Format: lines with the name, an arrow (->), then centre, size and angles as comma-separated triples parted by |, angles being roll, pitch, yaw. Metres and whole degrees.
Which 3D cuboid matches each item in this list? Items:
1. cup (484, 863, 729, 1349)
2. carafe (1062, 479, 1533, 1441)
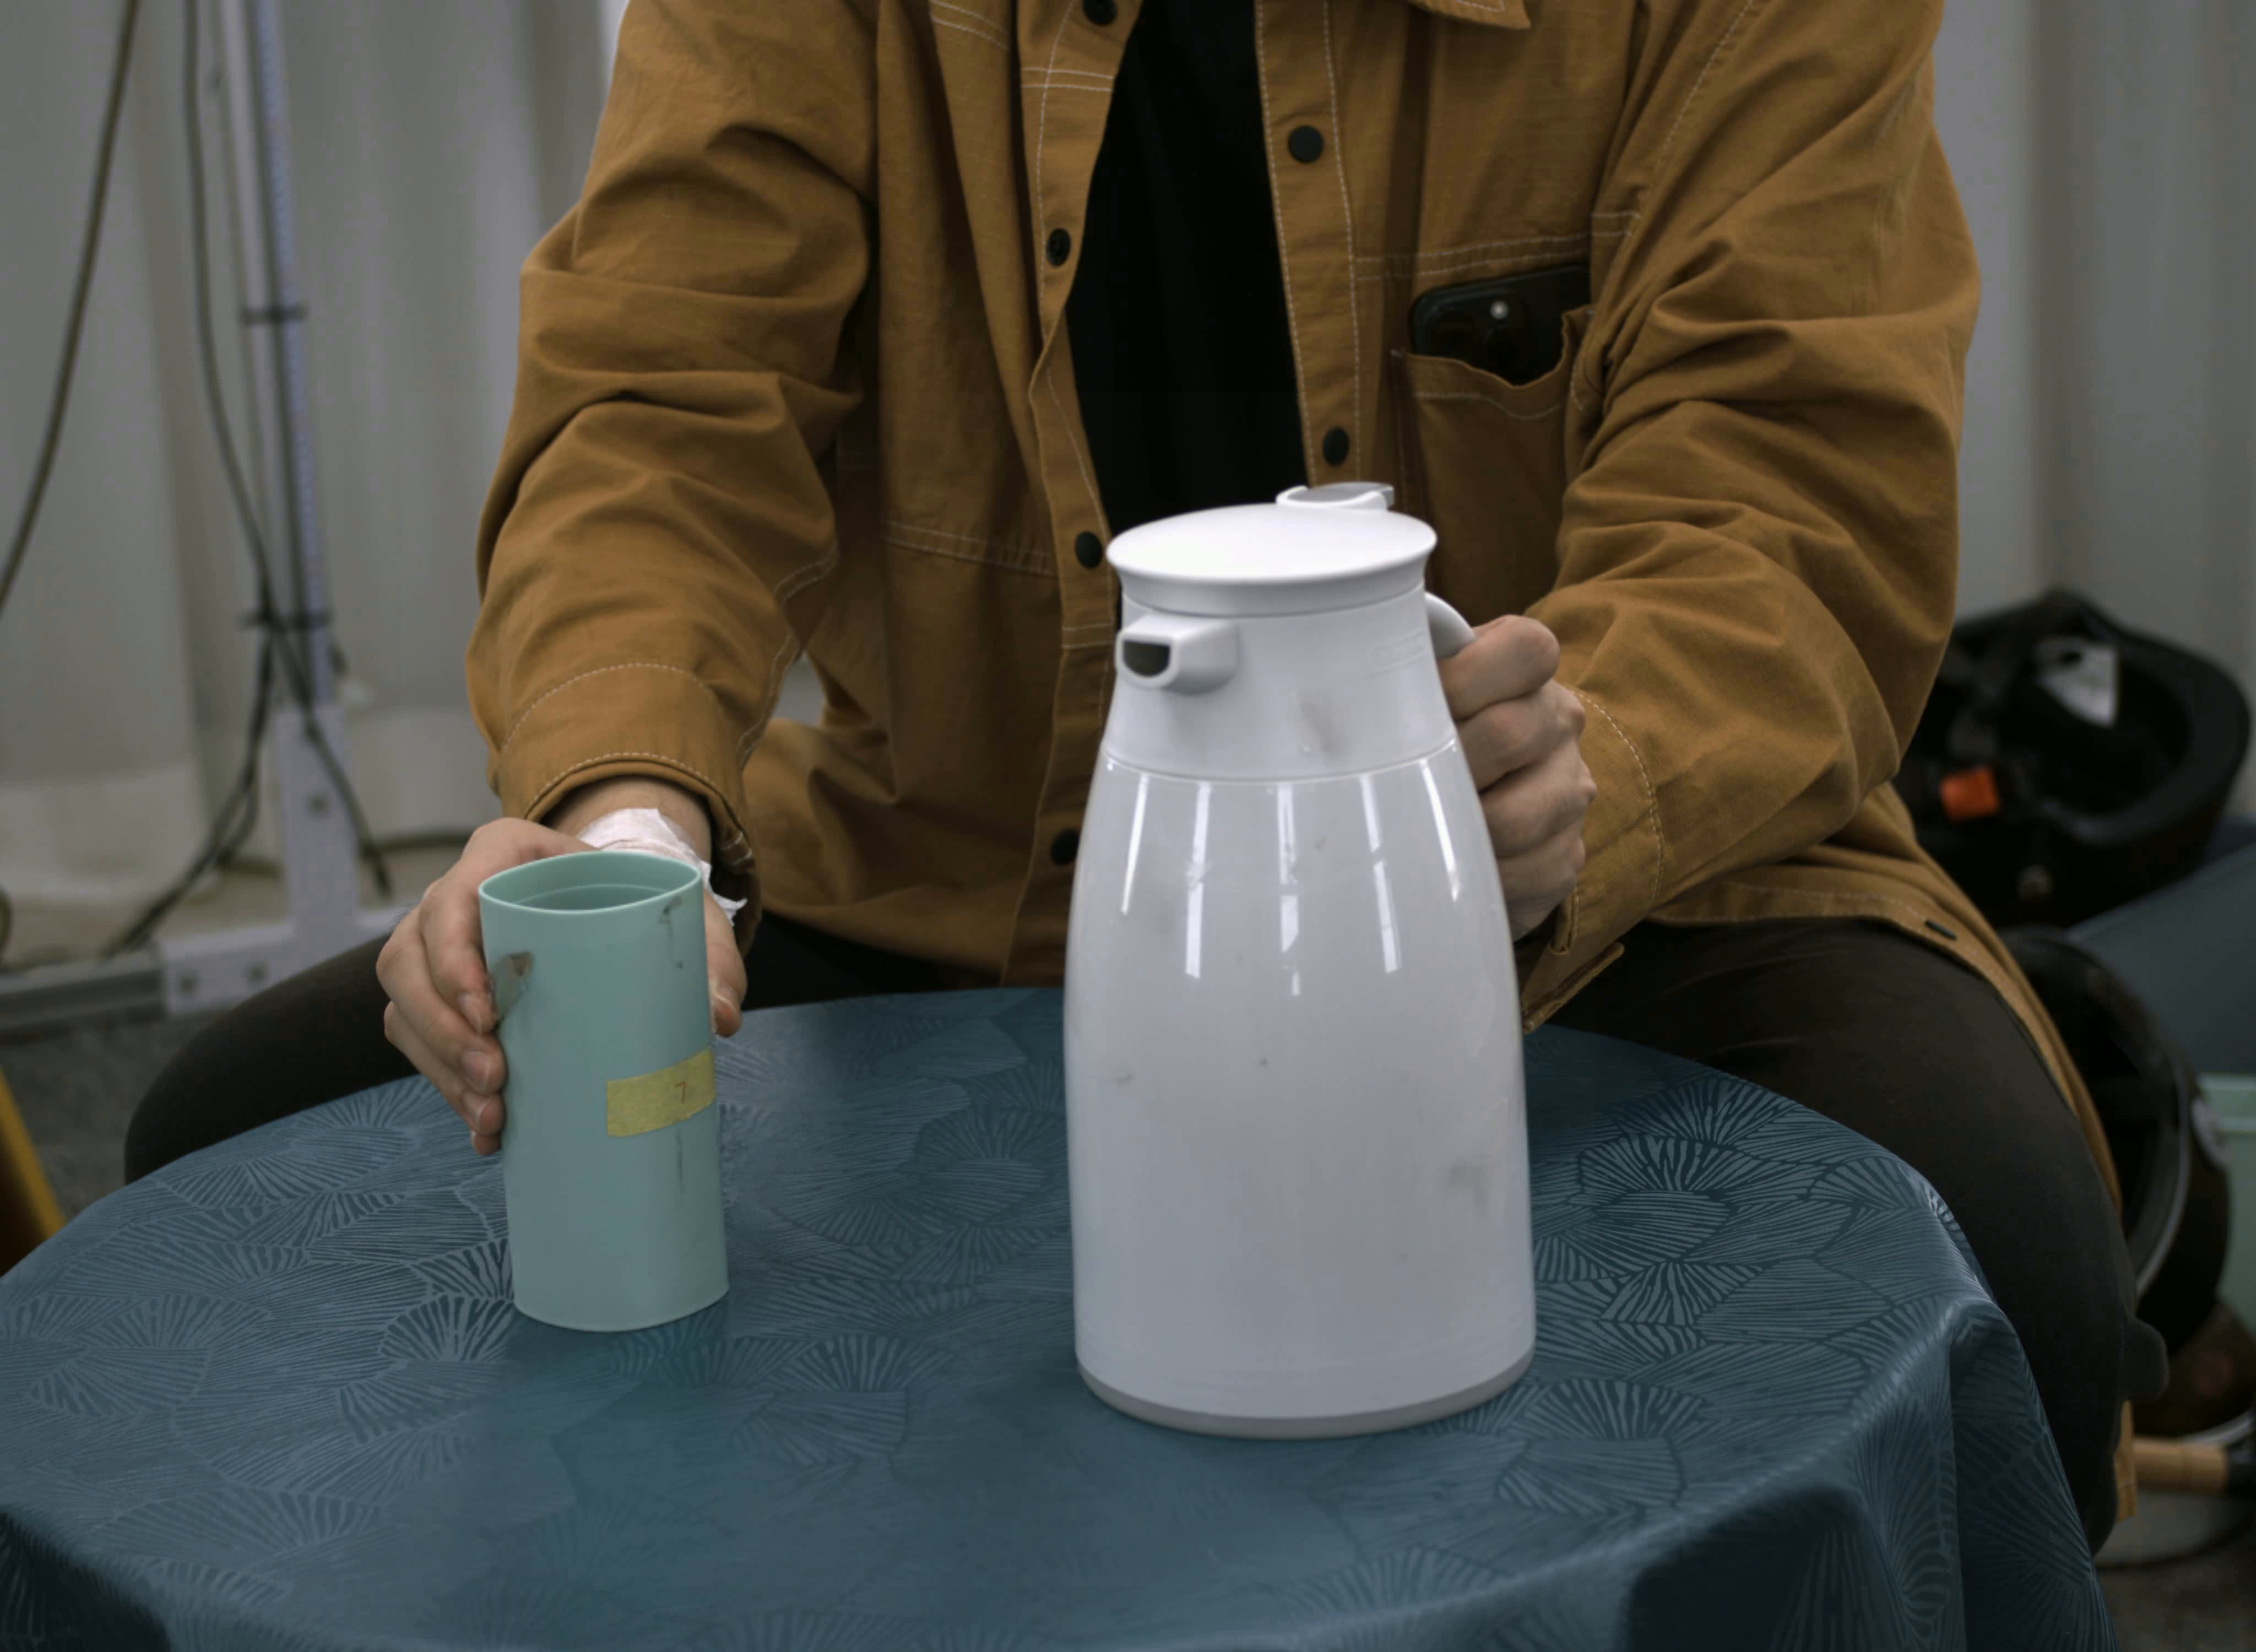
cup -> -0.155, 0.082, 1.628 | 0.066, 0.132, 0.067 | -2, 13, 0
carafe -> 0.055, 0.029, 1.550 | 0.133, 0.248, 0.167 | 7, 16, 34
